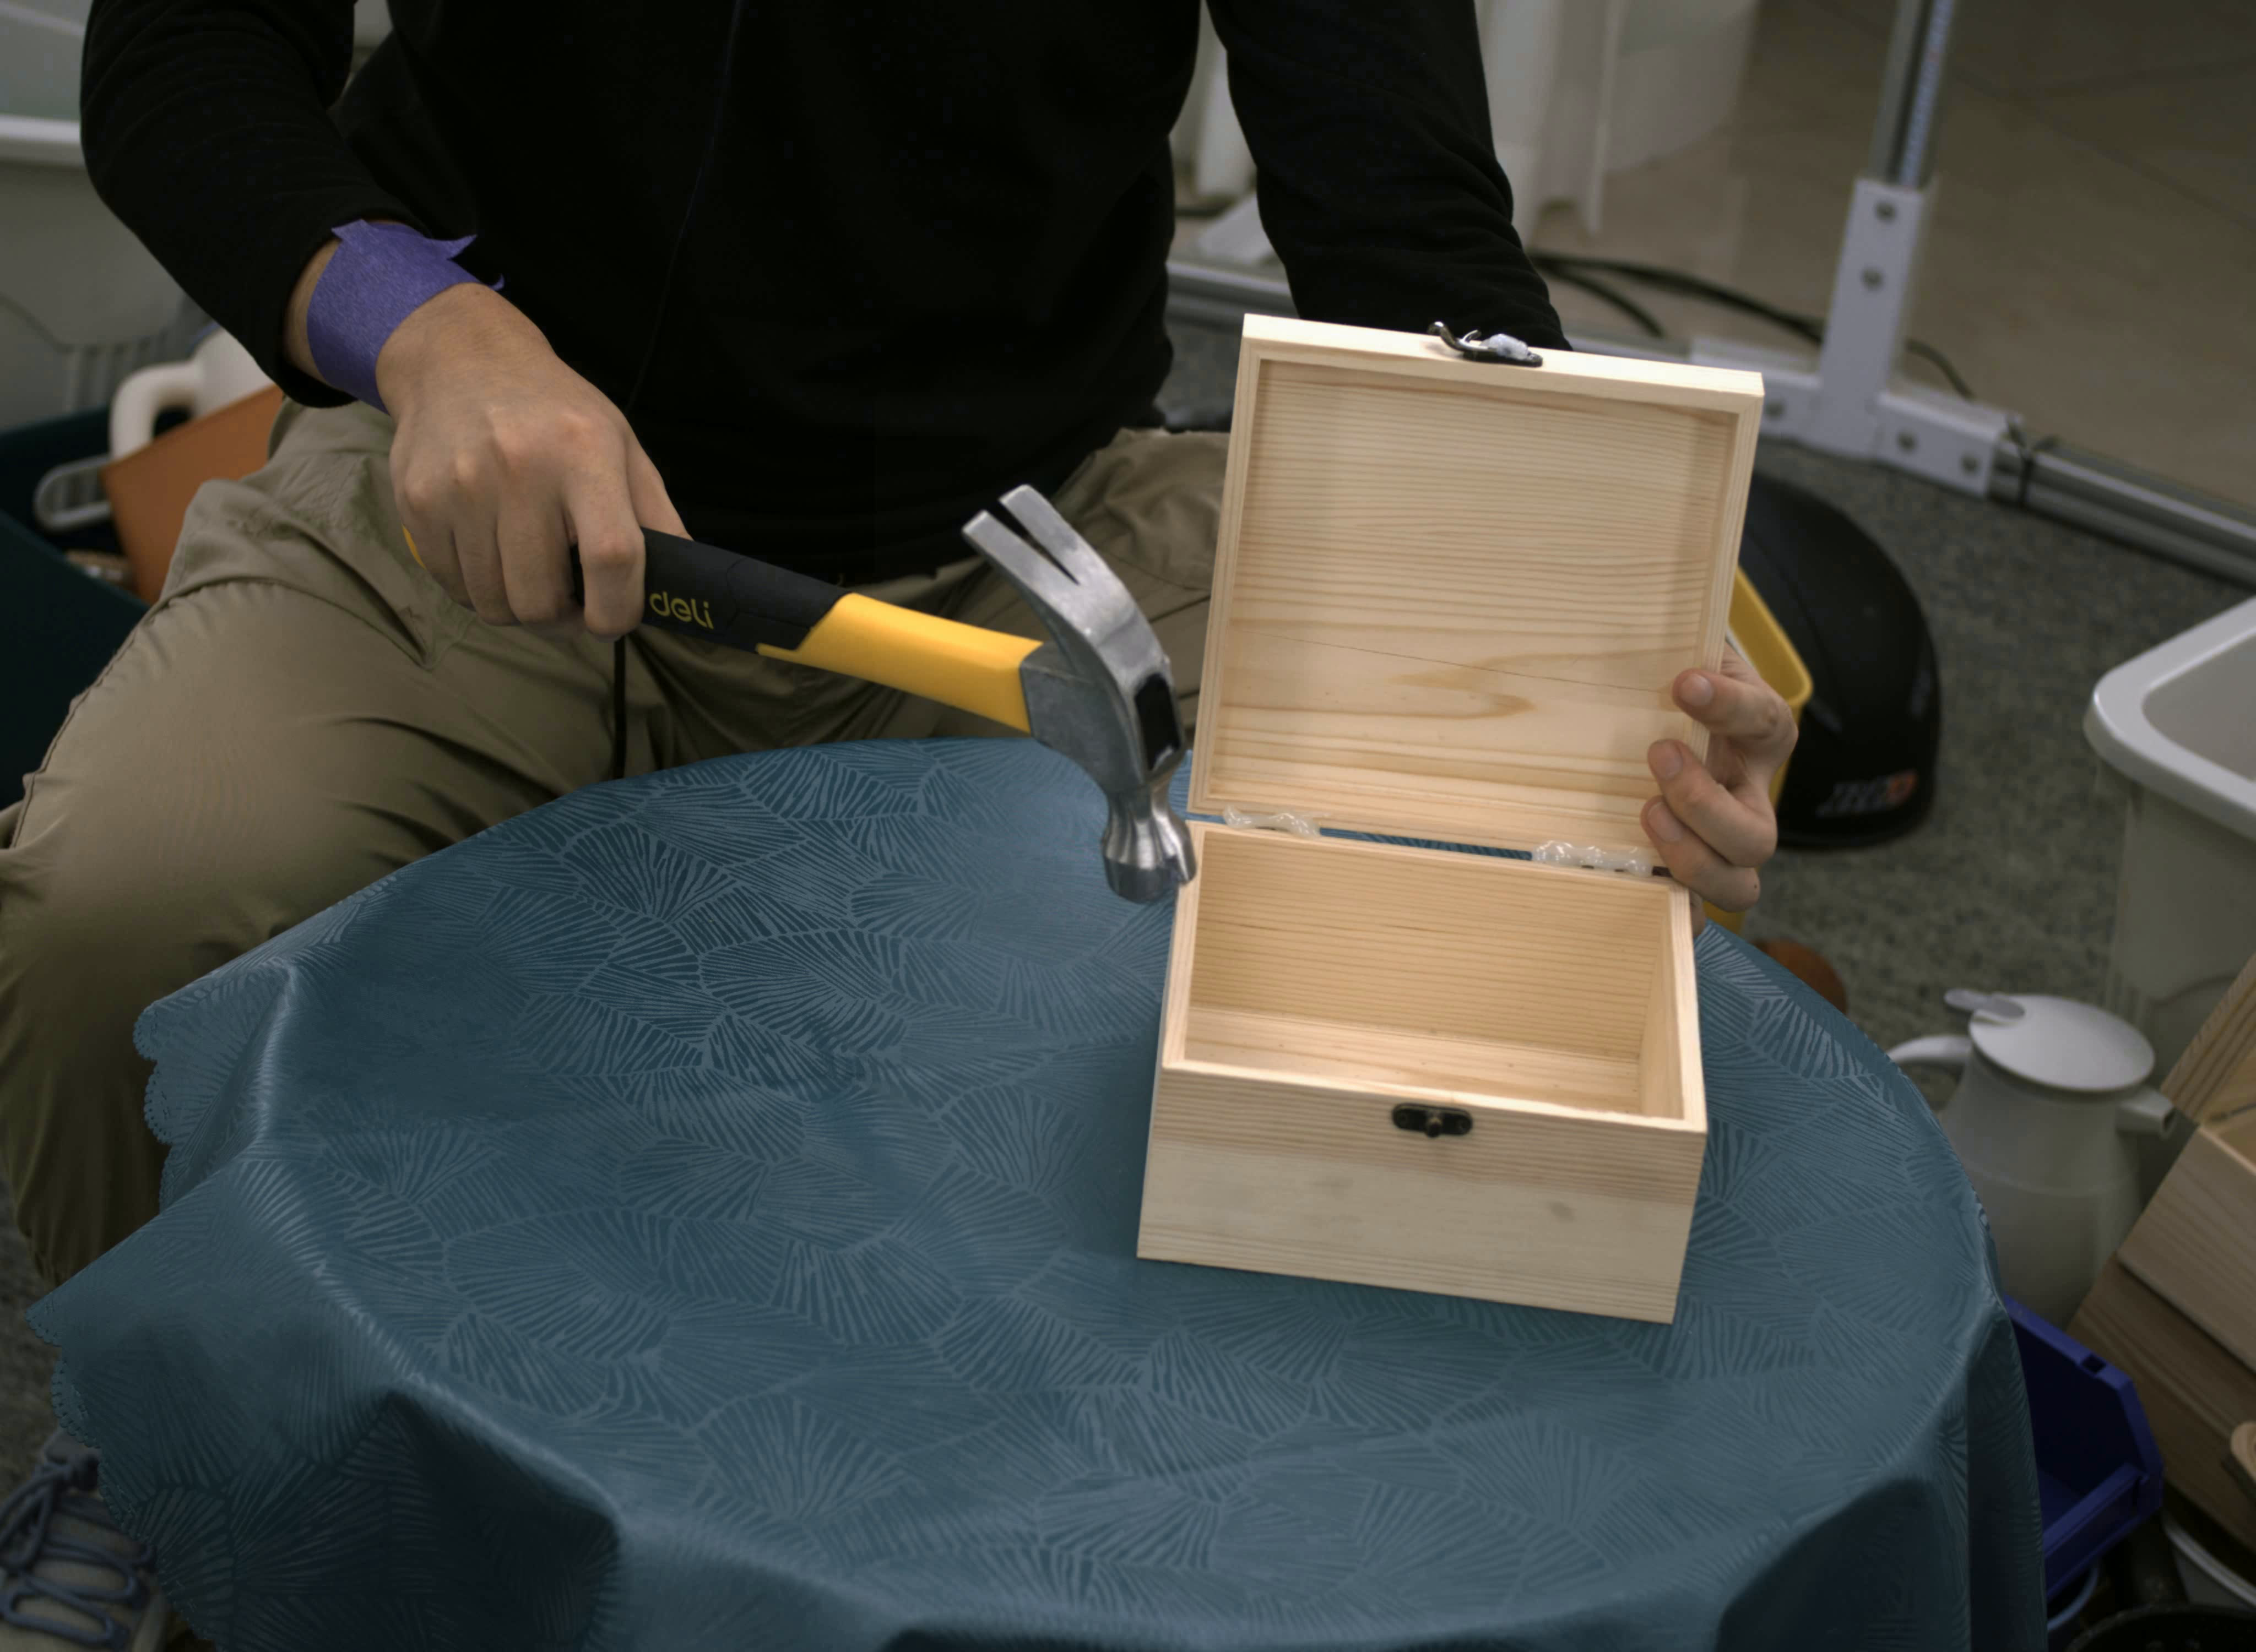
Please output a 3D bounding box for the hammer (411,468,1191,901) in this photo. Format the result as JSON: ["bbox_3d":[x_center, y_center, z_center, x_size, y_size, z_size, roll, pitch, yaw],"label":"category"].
[{"bbox_3d":[-0.119,-0.073,1.798,0.340,0.131,0.032,16,39,38],"label":"hammer"}]

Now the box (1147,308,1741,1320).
[{"bbox_3d":[0.111,-0.011,1.820,0.181,0.252,0.266,5,27,1],"label":"box"}]
